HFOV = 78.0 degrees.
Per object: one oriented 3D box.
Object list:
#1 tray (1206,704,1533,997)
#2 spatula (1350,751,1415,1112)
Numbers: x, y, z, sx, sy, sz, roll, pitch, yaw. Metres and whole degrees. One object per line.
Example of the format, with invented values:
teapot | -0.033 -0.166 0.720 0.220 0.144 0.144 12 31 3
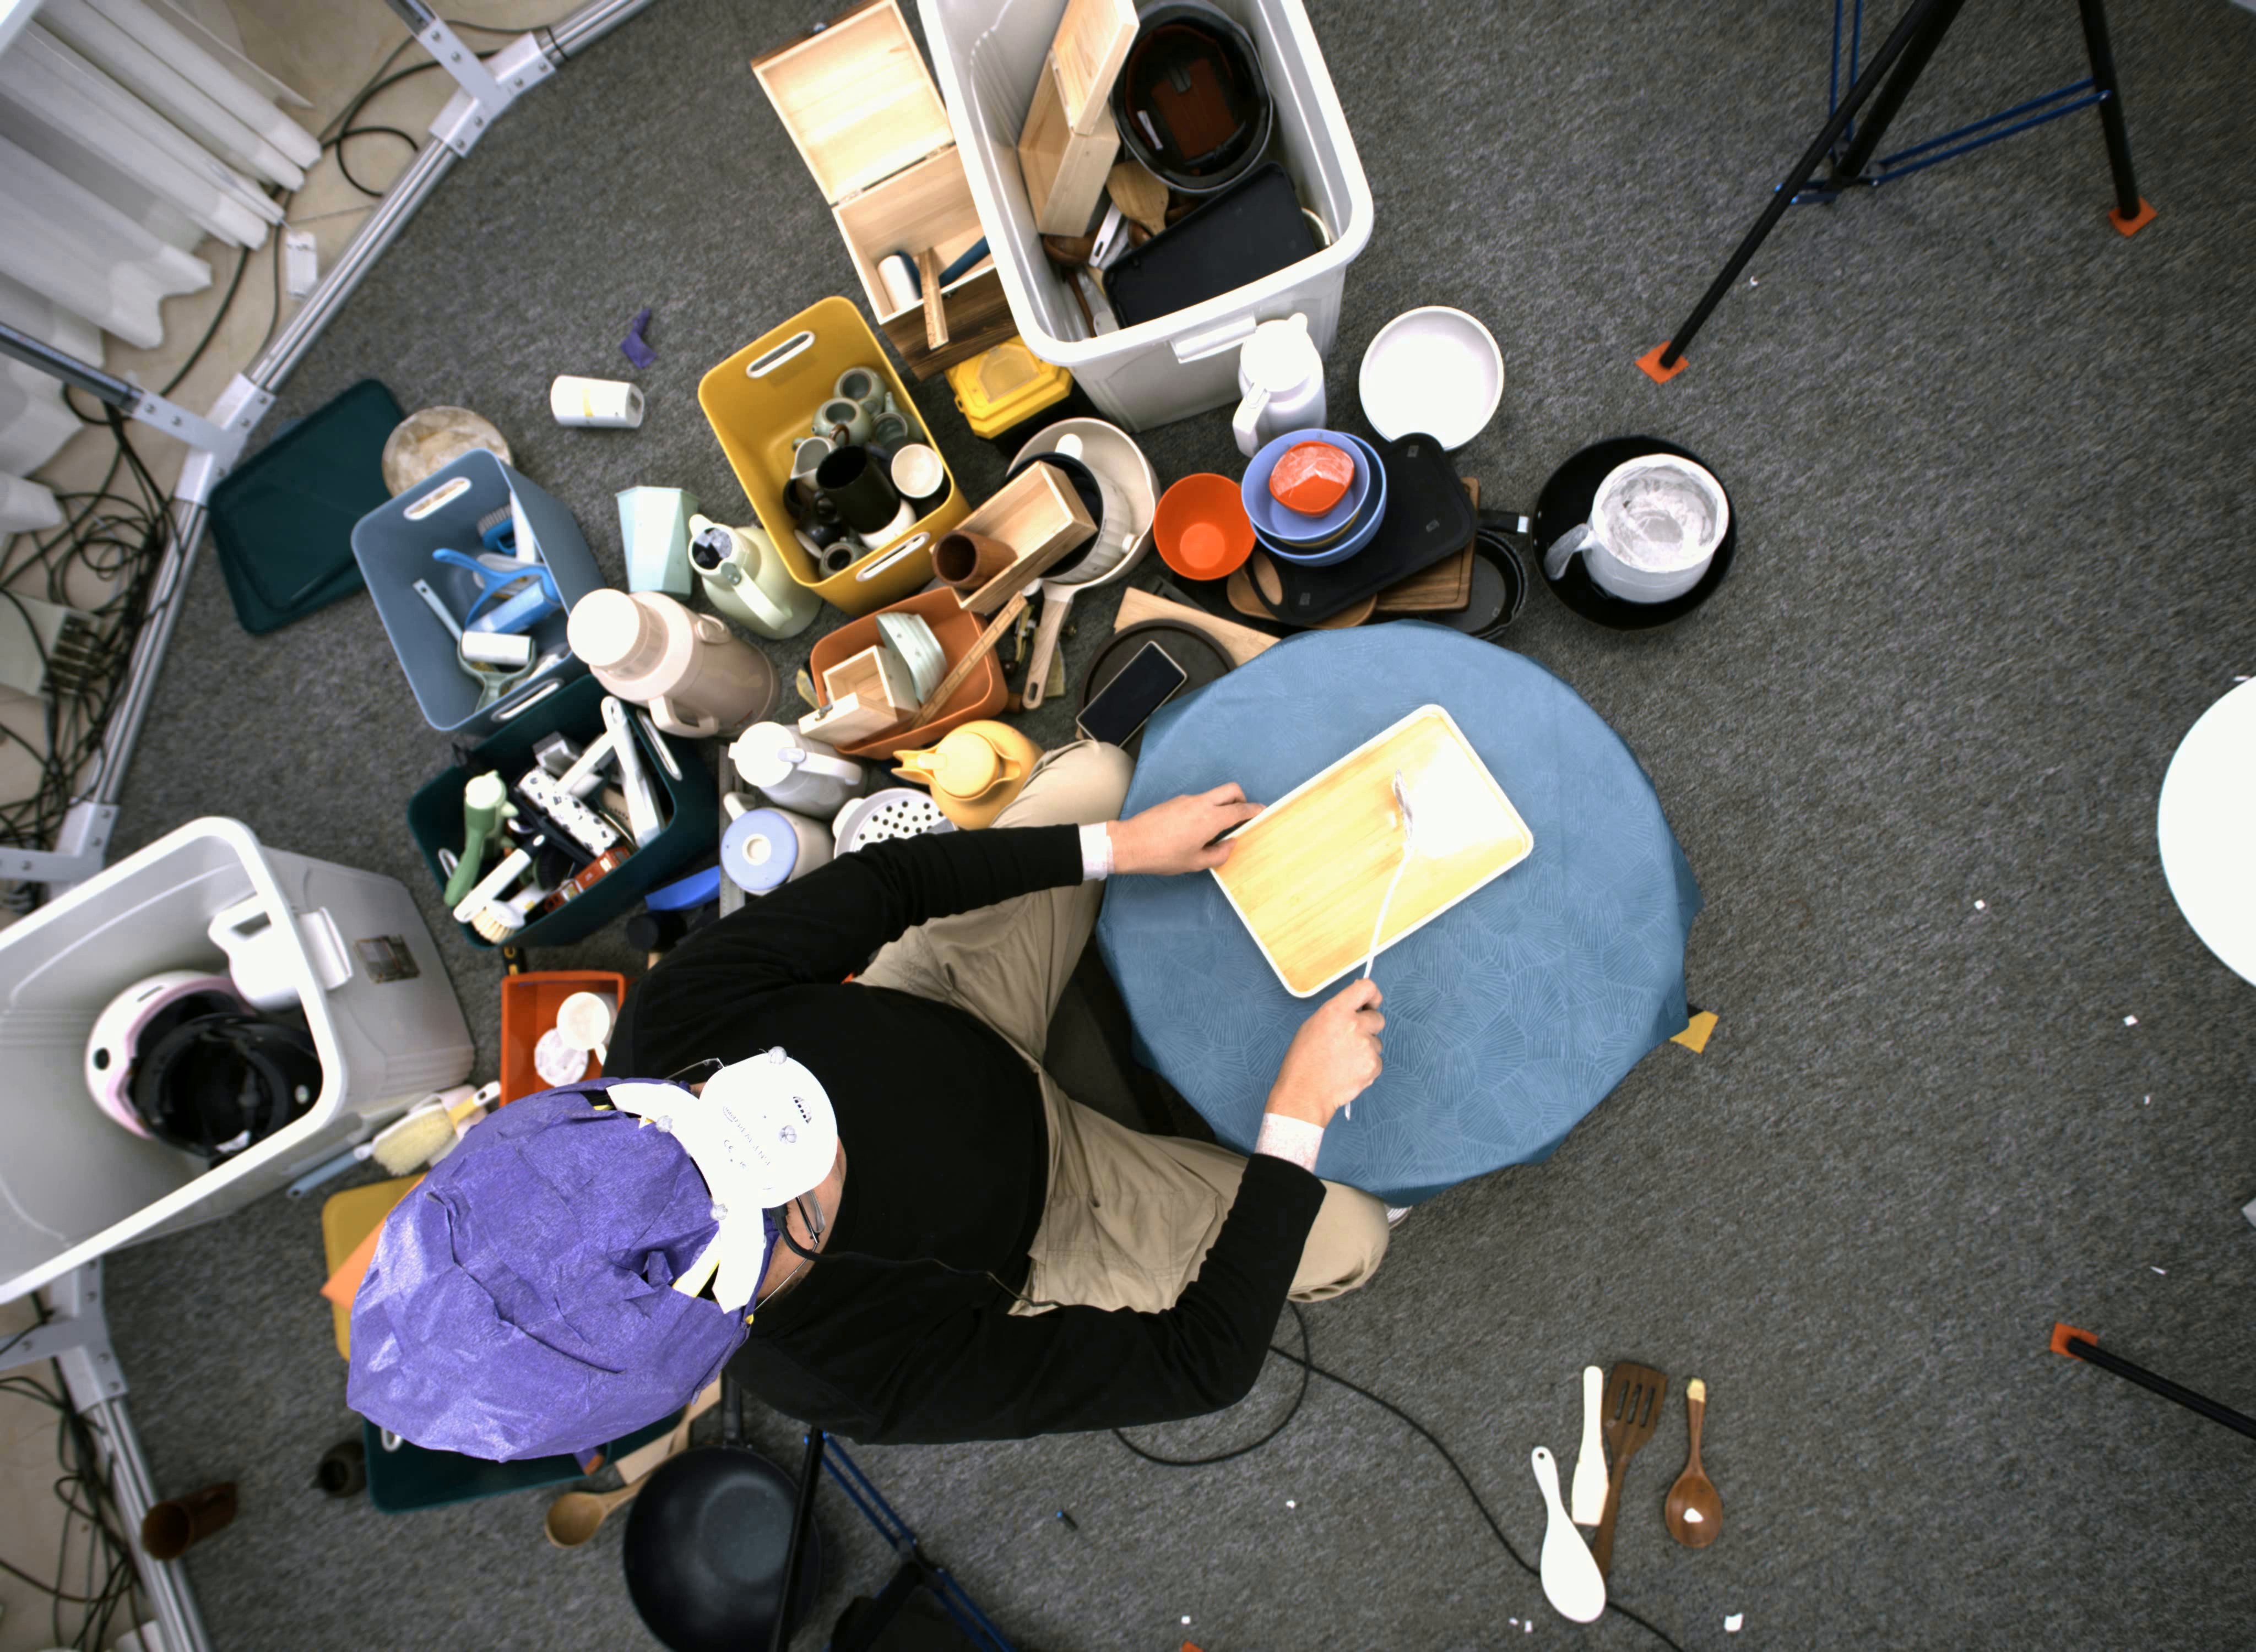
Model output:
tray | 0.251 0.025 1.453 0.302 0.027 0.190 -33 82 7
spatula | 0.245 0.099 1.368 0.045 0.100 0.359 12 73 16
